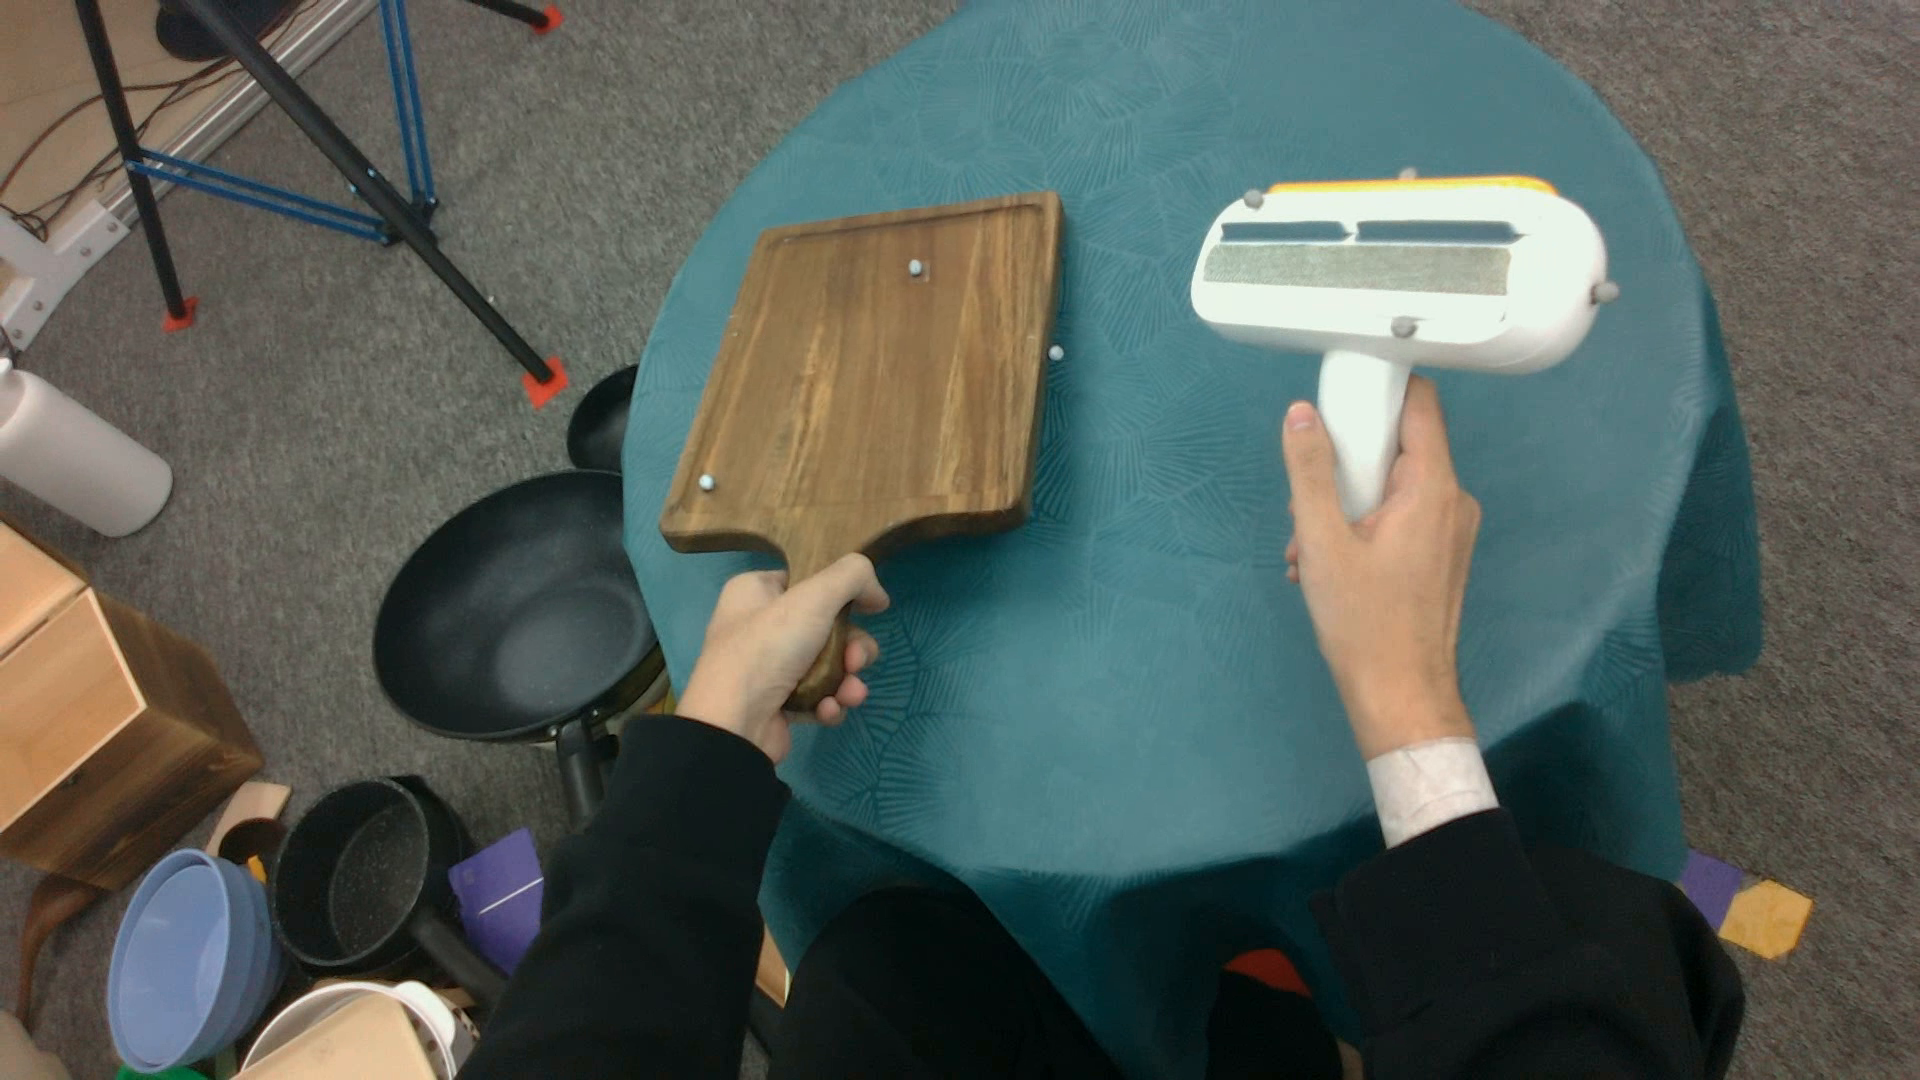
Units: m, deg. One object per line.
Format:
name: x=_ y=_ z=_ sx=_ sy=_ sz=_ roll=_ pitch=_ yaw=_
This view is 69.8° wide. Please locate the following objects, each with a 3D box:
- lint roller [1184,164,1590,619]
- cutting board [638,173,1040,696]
lint roller: x=0.163 y=-0.059 z=0.590 sx=0.193 sy=0.074 sz=0.192 roll=26 pitch=106 yaw=52
cutting board: x=-0.064 y=-0.071 z=0.735 sx=0.201 sy=0.023 sz=0.354 roll=-4 pitch=50 yaw=14
